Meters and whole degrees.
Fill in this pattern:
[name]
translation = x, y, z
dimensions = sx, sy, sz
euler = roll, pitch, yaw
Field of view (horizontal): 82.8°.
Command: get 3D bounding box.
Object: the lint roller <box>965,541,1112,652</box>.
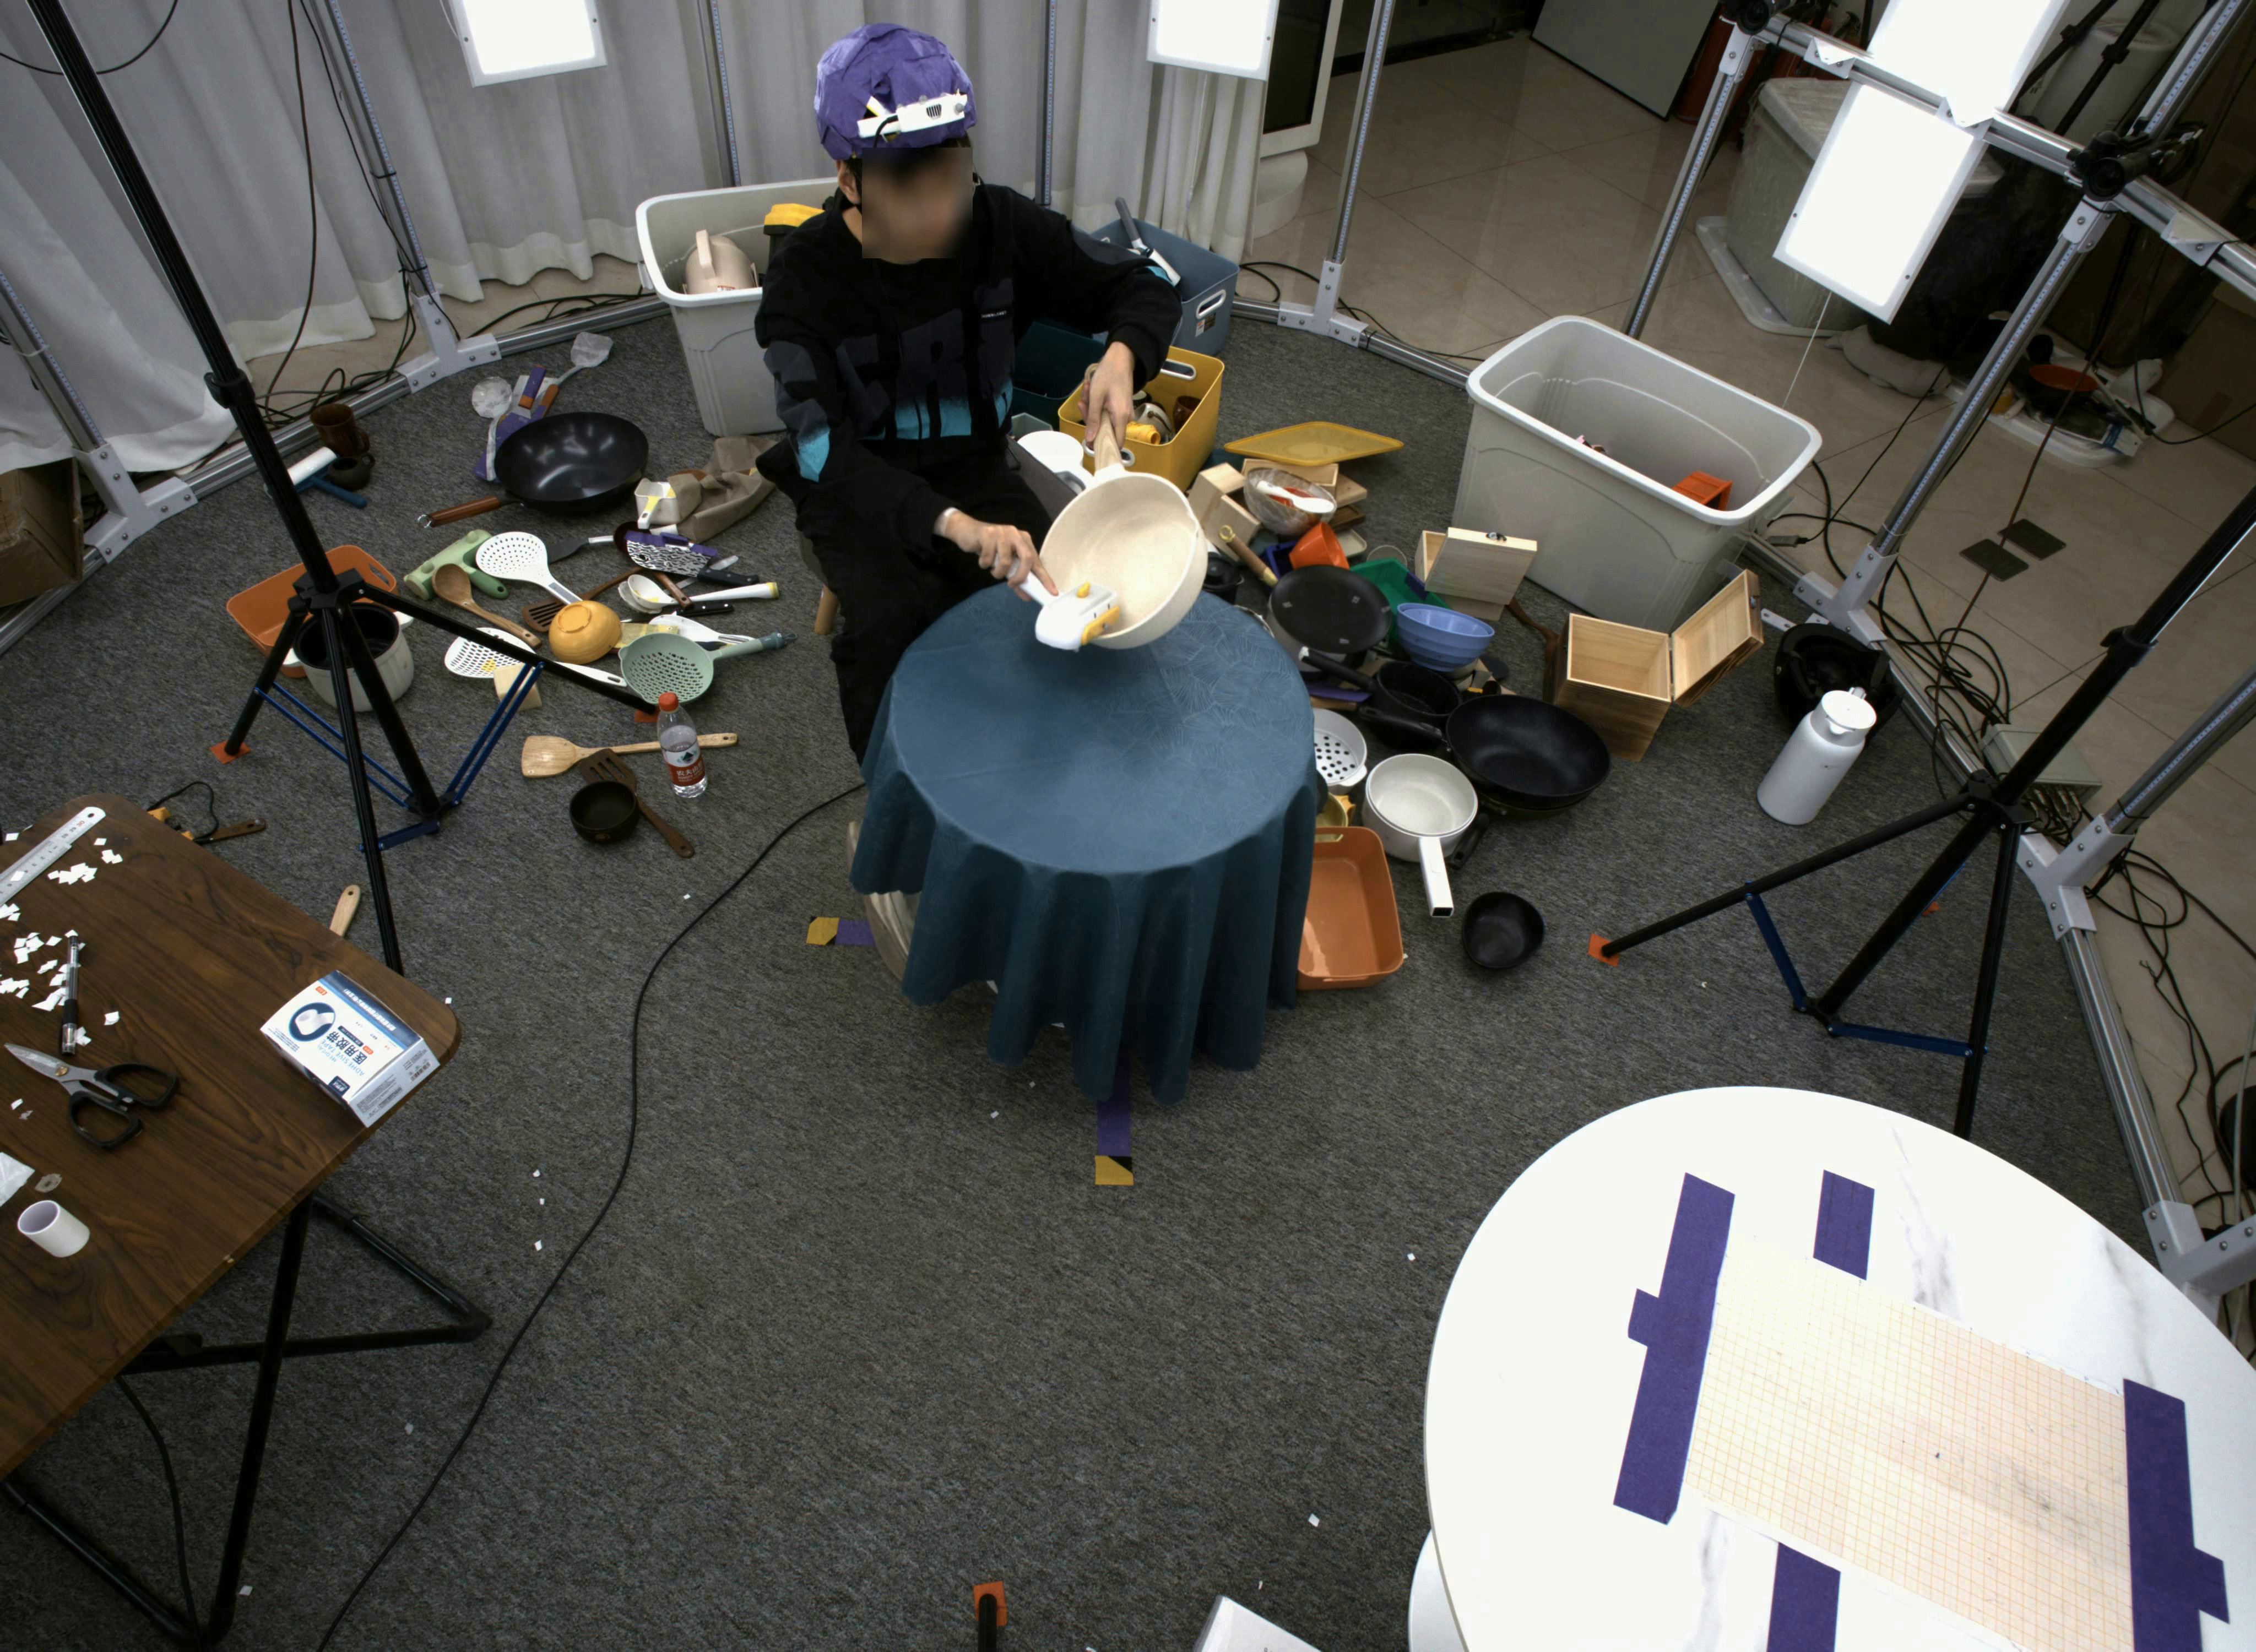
[lint roller]
translation = -0.137, -0.318, 1.734
dimensions = 0.194, 0.072, 0.195
euler = 28, 40, 13

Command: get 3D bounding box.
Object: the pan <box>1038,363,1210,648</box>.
[pan]
translation = -0.008, -0.454, 1.836
dimensions = 0.262, 0.100, 0.443
euler = -17, 64, 27
